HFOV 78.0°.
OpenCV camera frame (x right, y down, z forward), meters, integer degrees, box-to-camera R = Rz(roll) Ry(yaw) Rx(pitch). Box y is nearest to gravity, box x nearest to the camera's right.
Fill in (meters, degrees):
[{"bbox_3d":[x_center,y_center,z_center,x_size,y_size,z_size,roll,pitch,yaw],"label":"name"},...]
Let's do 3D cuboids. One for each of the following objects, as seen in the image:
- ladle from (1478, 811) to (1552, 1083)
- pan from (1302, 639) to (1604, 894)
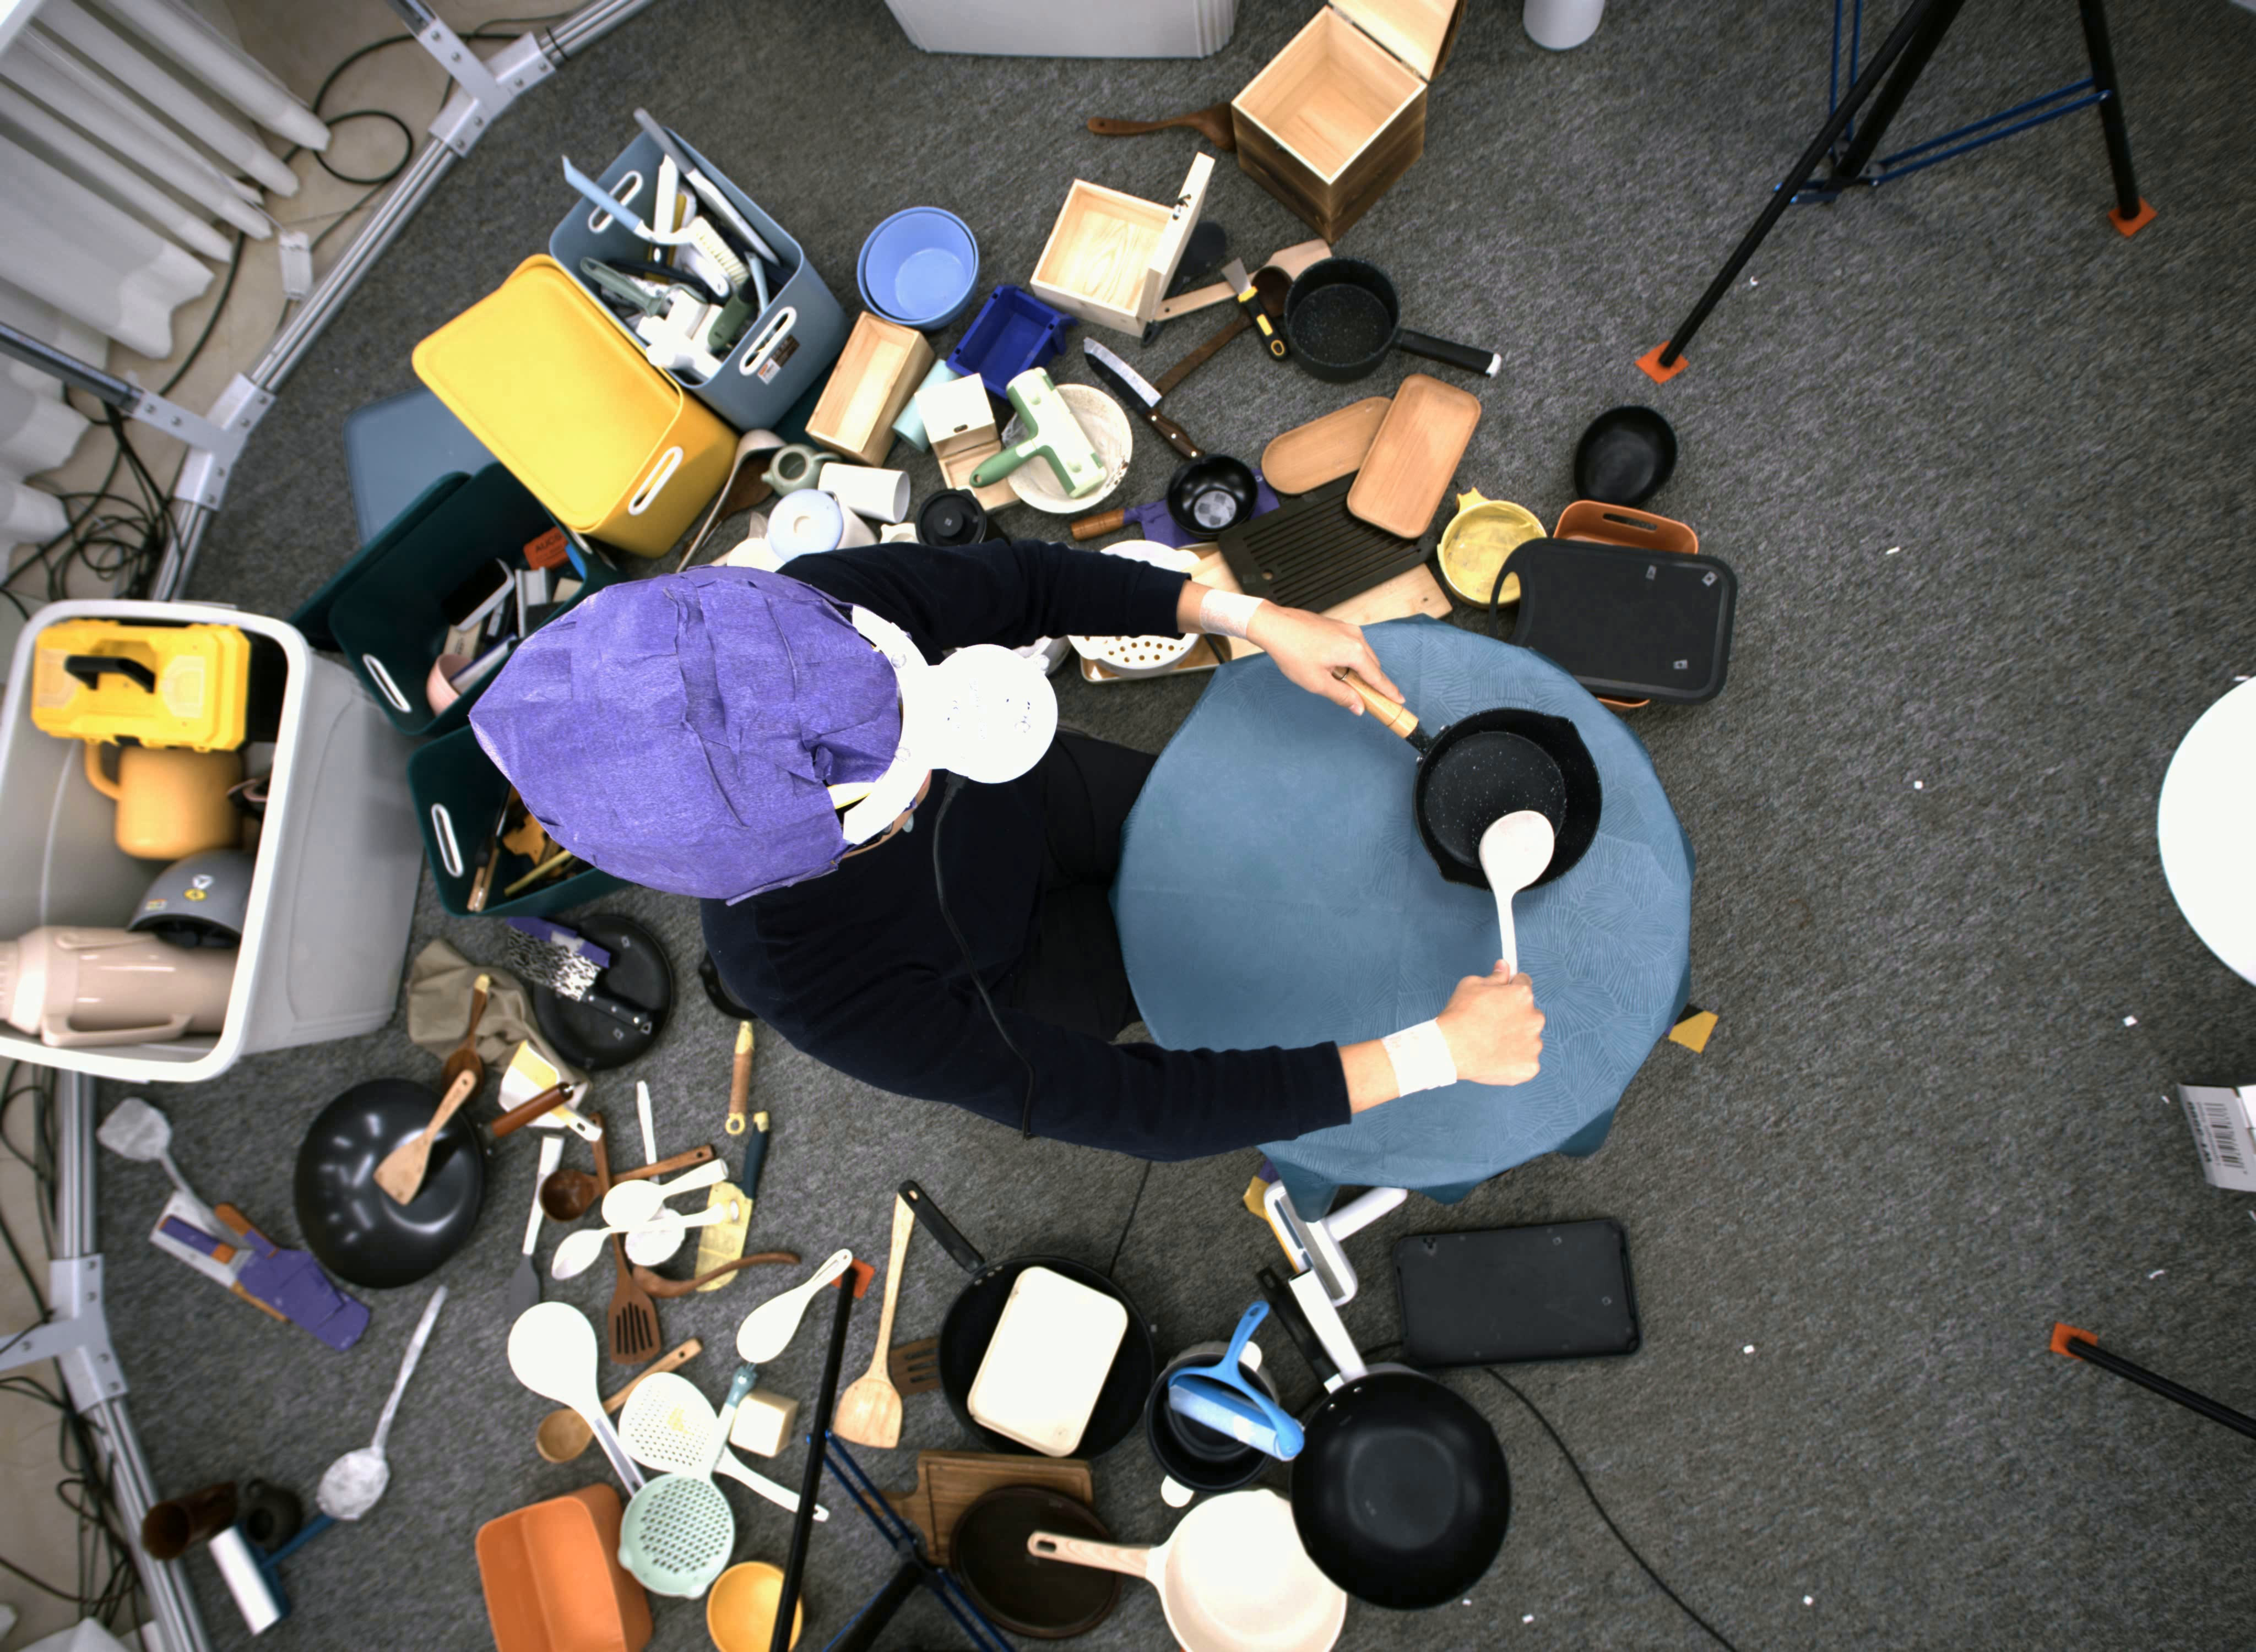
[{"bbox_3d":[0.371,0.107,1.289,0.070,0.090,0.267,-25,44,35],"label":"ladle"},{"bbox_3d":[0.314,-0.074,1.387,0.342,0.107,0.209,36,97,2],"label":"pan"}]
